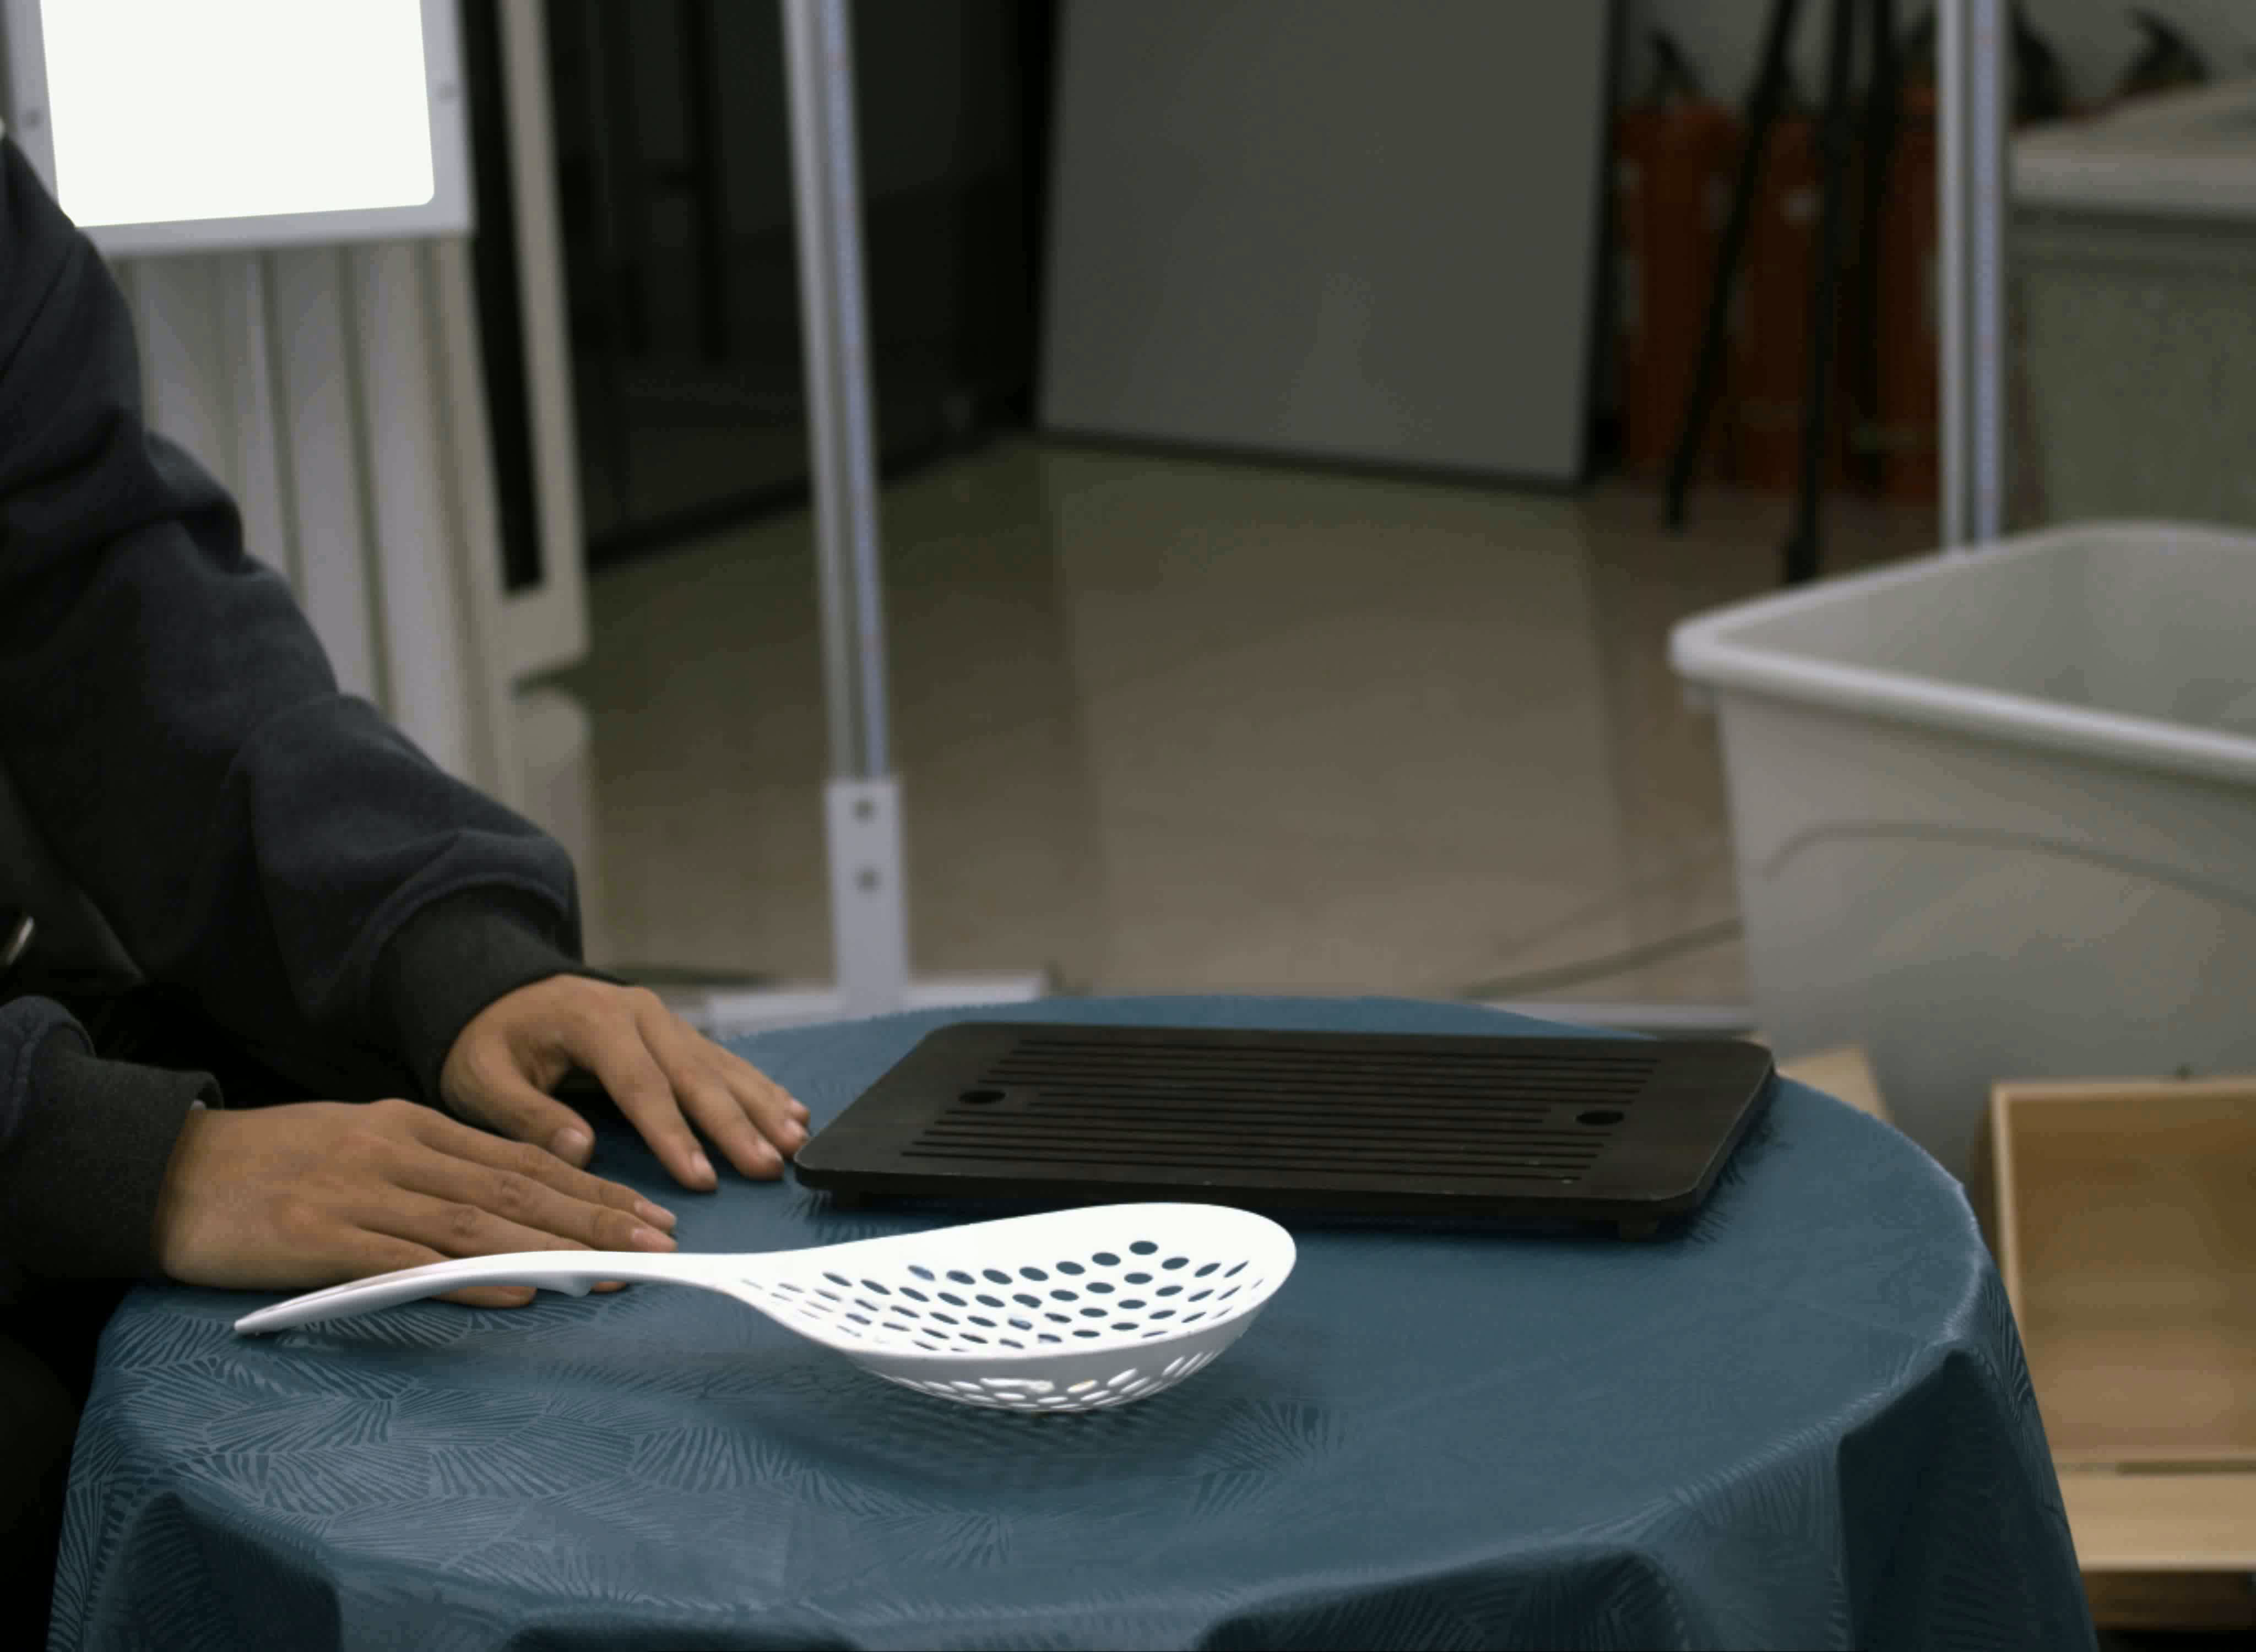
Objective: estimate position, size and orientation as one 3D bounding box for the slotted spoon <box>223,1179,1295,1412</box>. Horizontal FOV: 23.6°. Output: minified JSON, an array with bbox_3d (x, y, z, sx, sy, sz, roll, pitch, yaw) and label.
[{"bbox_3d":[-0.116,0.145,1.619,0.347,0.051,0.135,2,17,22],"label":"slotted spoon"}]

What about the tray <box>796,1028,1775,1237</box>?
[{"bbox_3d":[0.055,0.101,1.799,0.305,0.019,0.168,0,14,18],"label":"tray"}]
